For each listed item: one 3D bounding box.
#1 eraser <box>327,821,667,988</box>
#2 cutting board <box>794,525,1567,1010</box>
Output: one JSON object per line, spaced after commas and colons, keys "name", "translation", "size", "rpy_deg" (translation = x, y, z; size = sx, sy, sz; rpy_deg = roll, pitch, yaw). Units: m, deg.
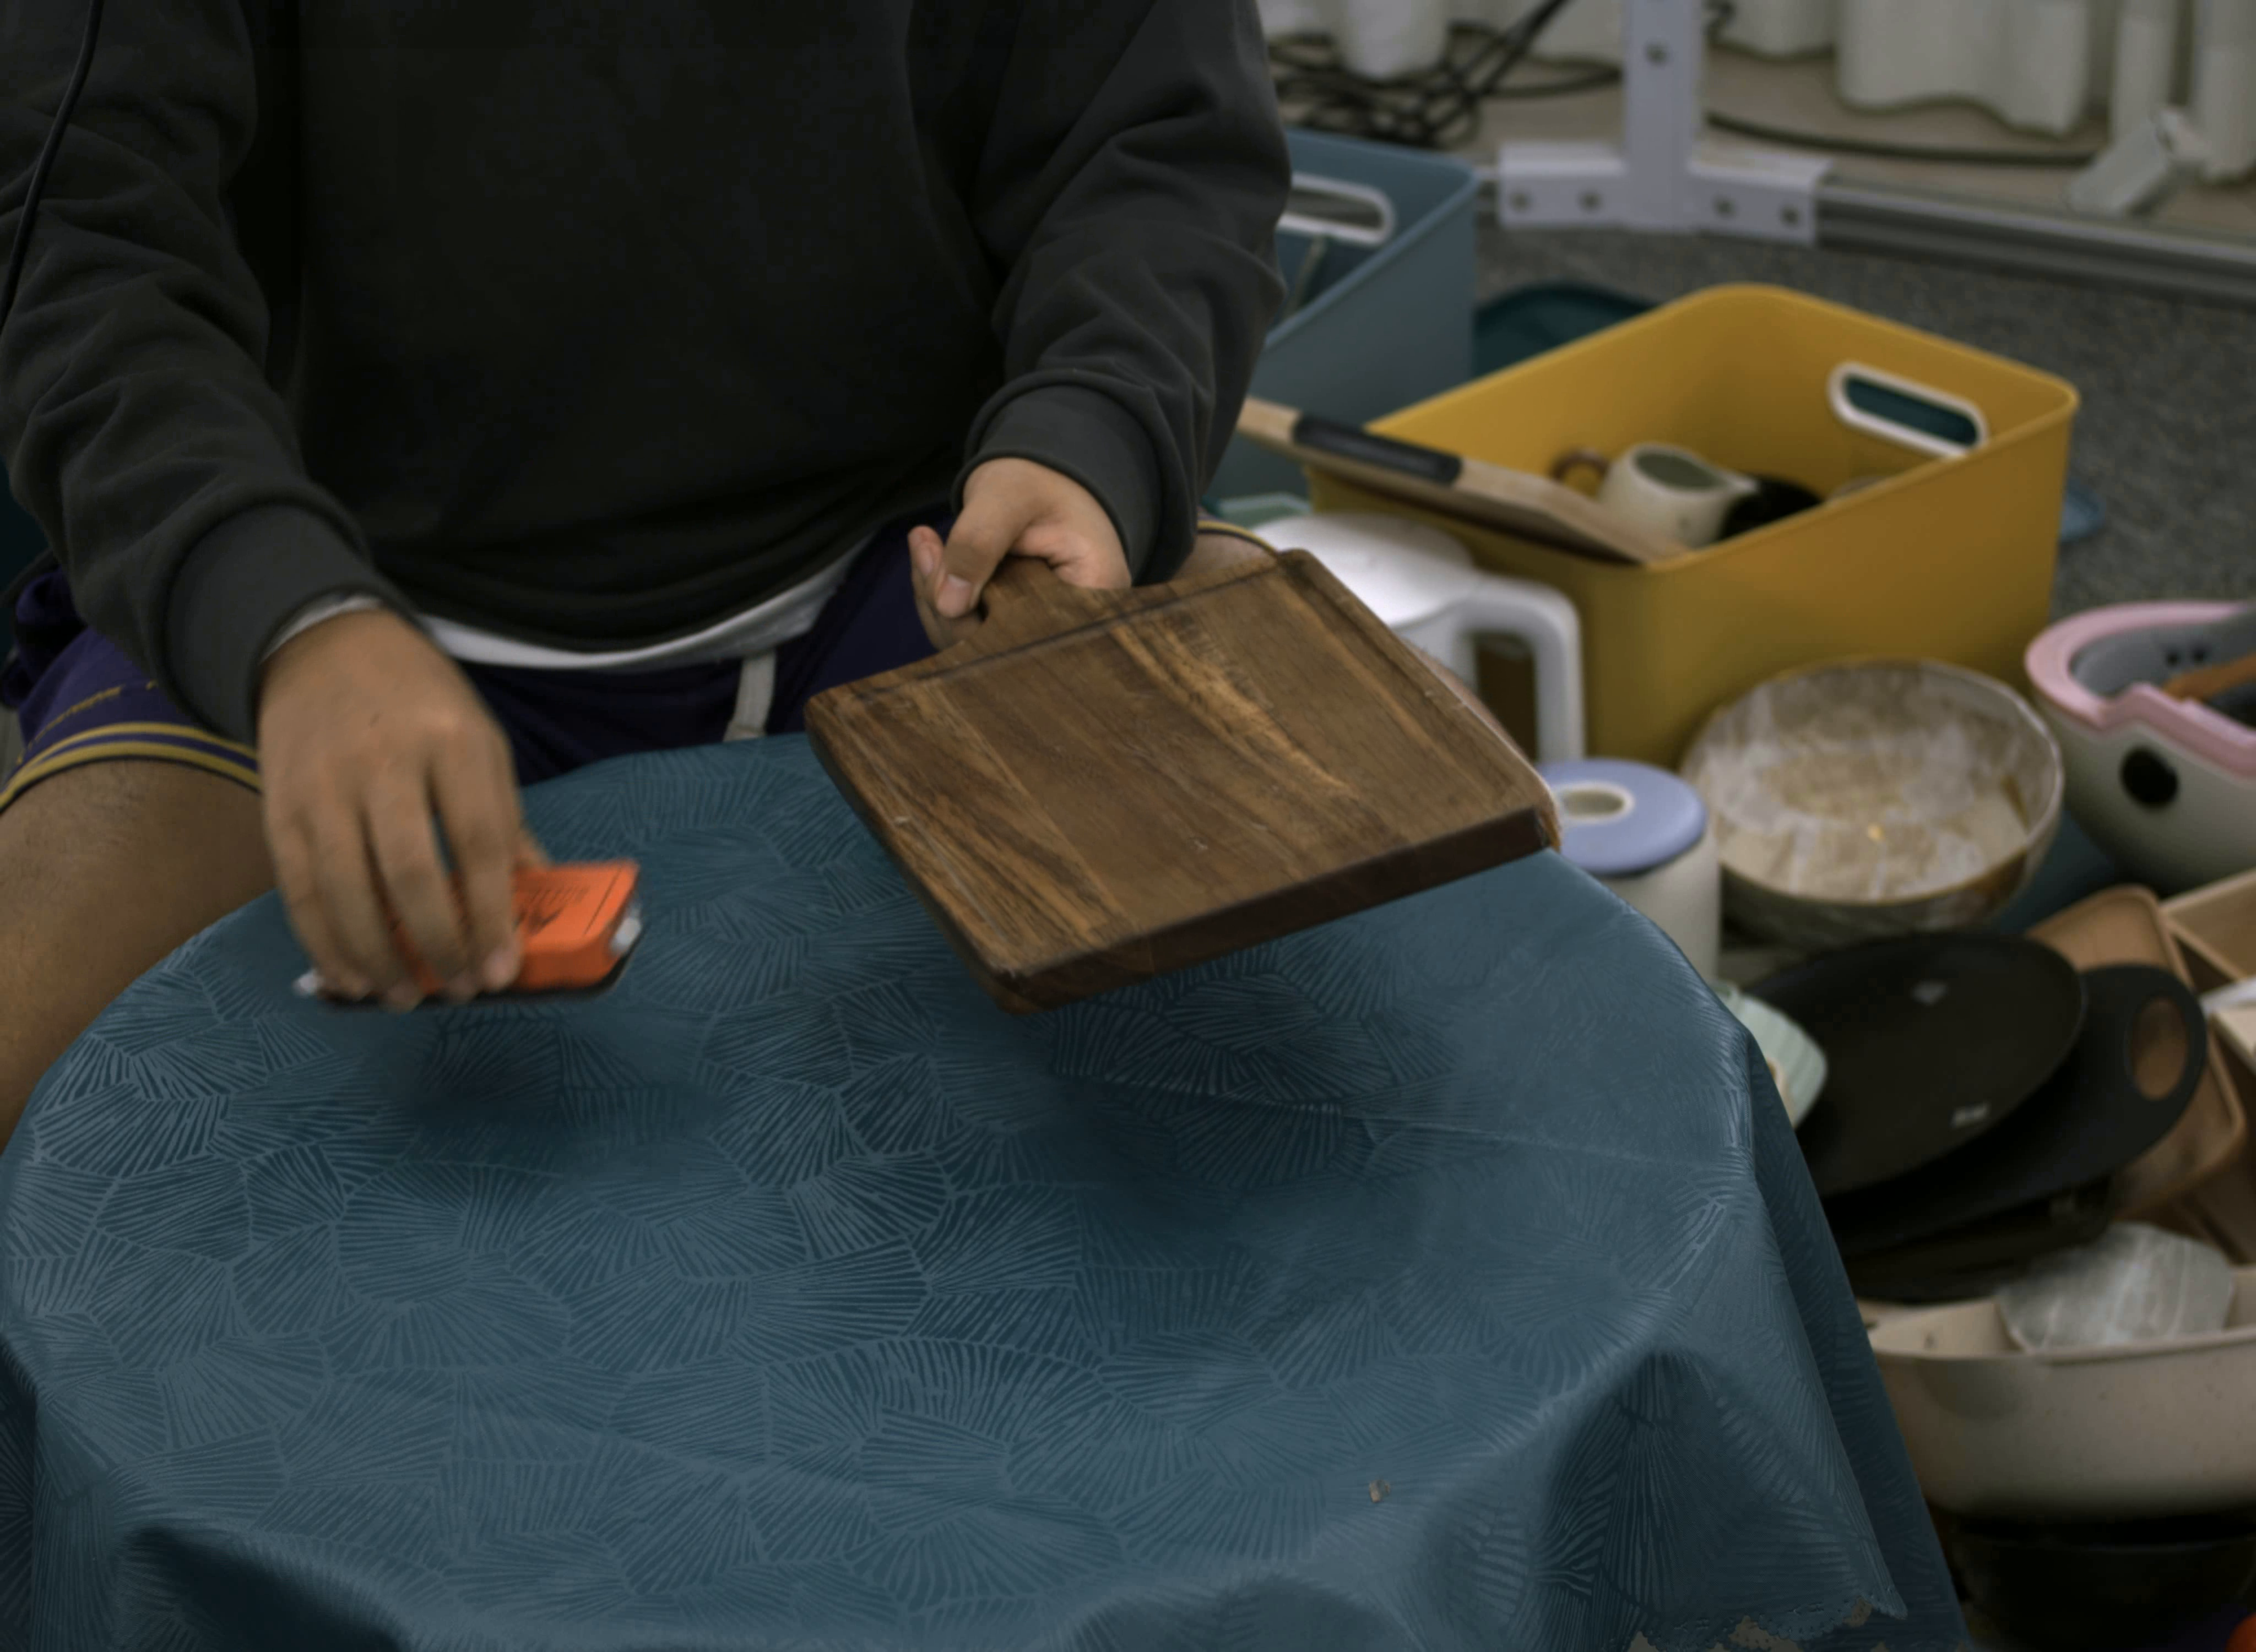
{"name": "eraser", "translation": [-0.214, 0.027, 1.912], "size": [0.107, 0.022, 0.060], "rpy_deg": [-6, 30, 15]}
{"name": "cutting board", "translation": [-0.003, -0.040, 1.945], "size": [0.201, 0.023, 0.354], "rpy_deg": [-18, 26, -13]}
